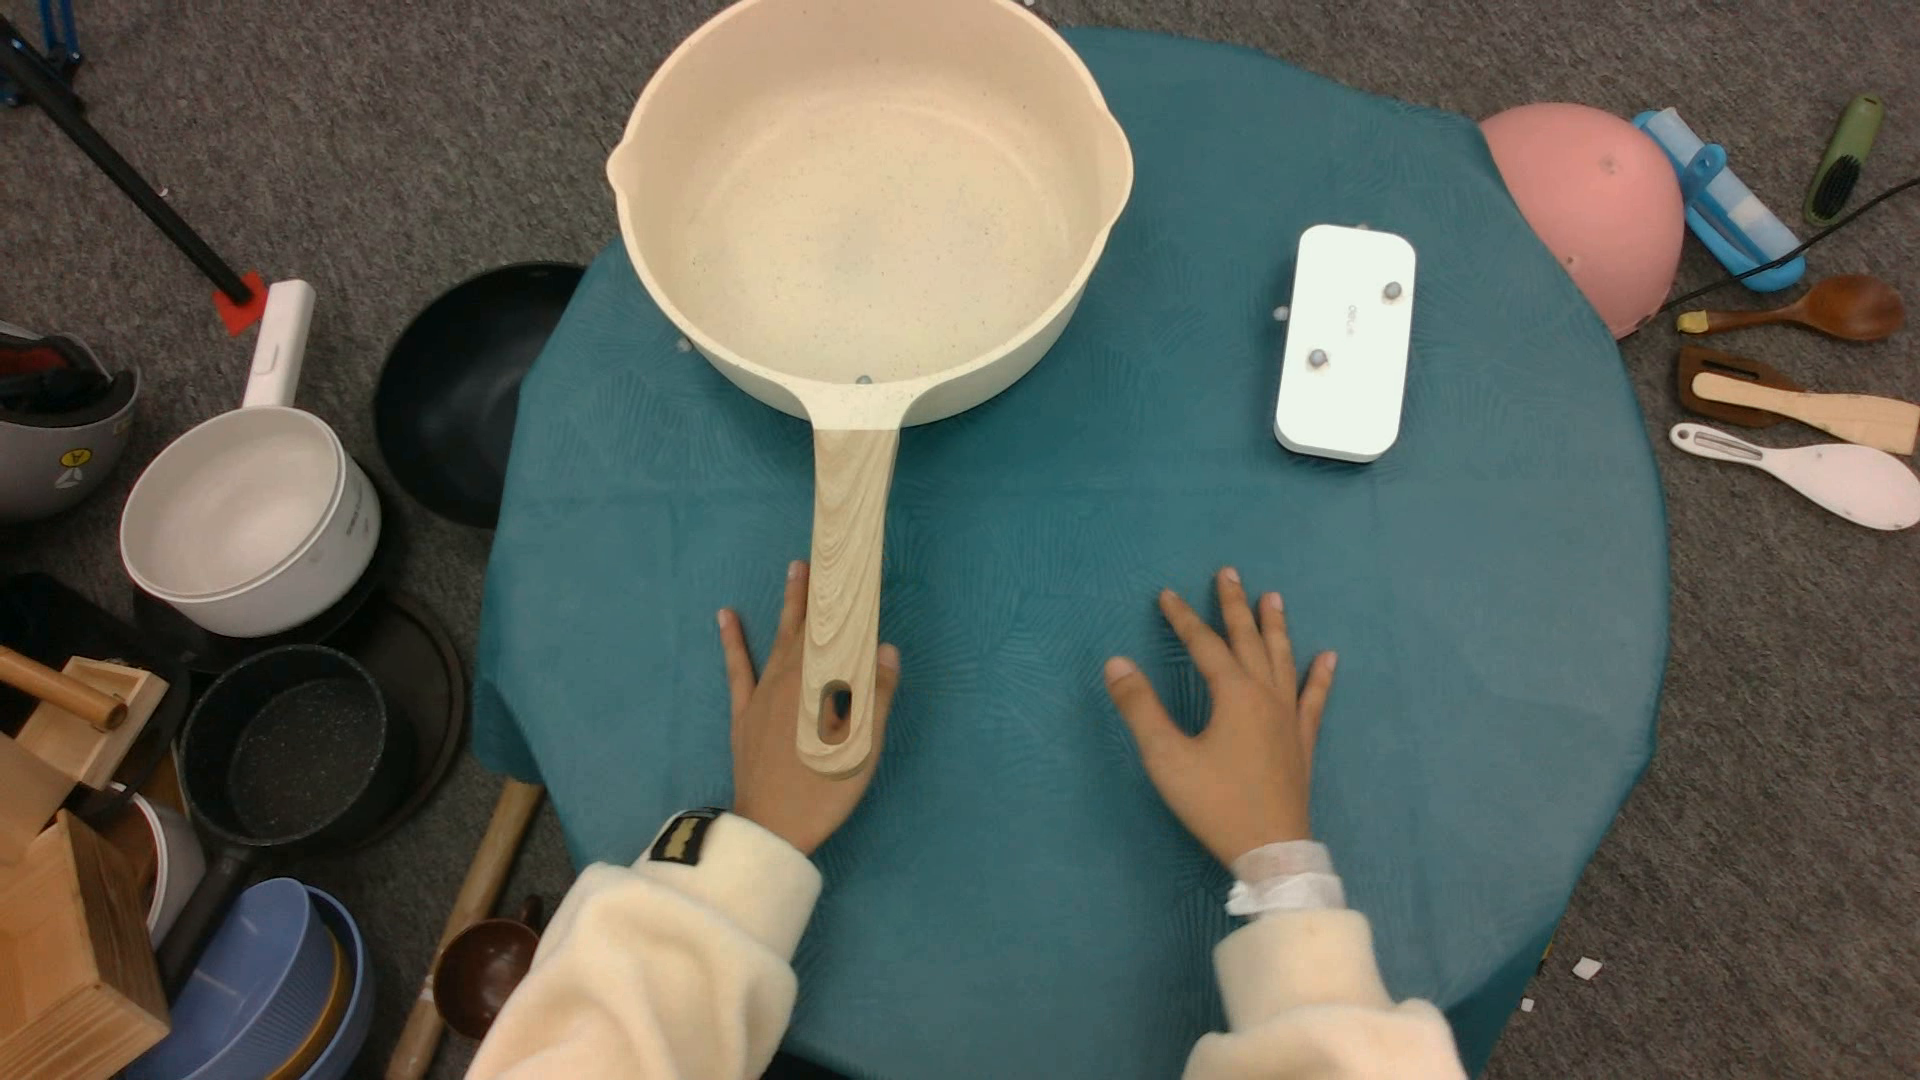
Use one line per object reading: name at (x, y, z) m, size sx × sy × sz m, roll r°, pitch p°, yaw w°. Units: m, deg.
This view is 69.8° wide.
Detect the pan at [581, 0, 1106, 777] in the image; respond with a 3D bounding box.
pan at (-0.058, -0.092, 0.684) m, size 0.263 × 0.101 × 0.436 m, roll 0°, pitch 69°, yaw -1°

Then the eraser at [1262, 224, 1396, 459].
eraser at (0.192, -0.107, 0.725) m, size 0.063 × 0.034 × 0.132 m, roll 8°, pitch 69°, yaw 7°
